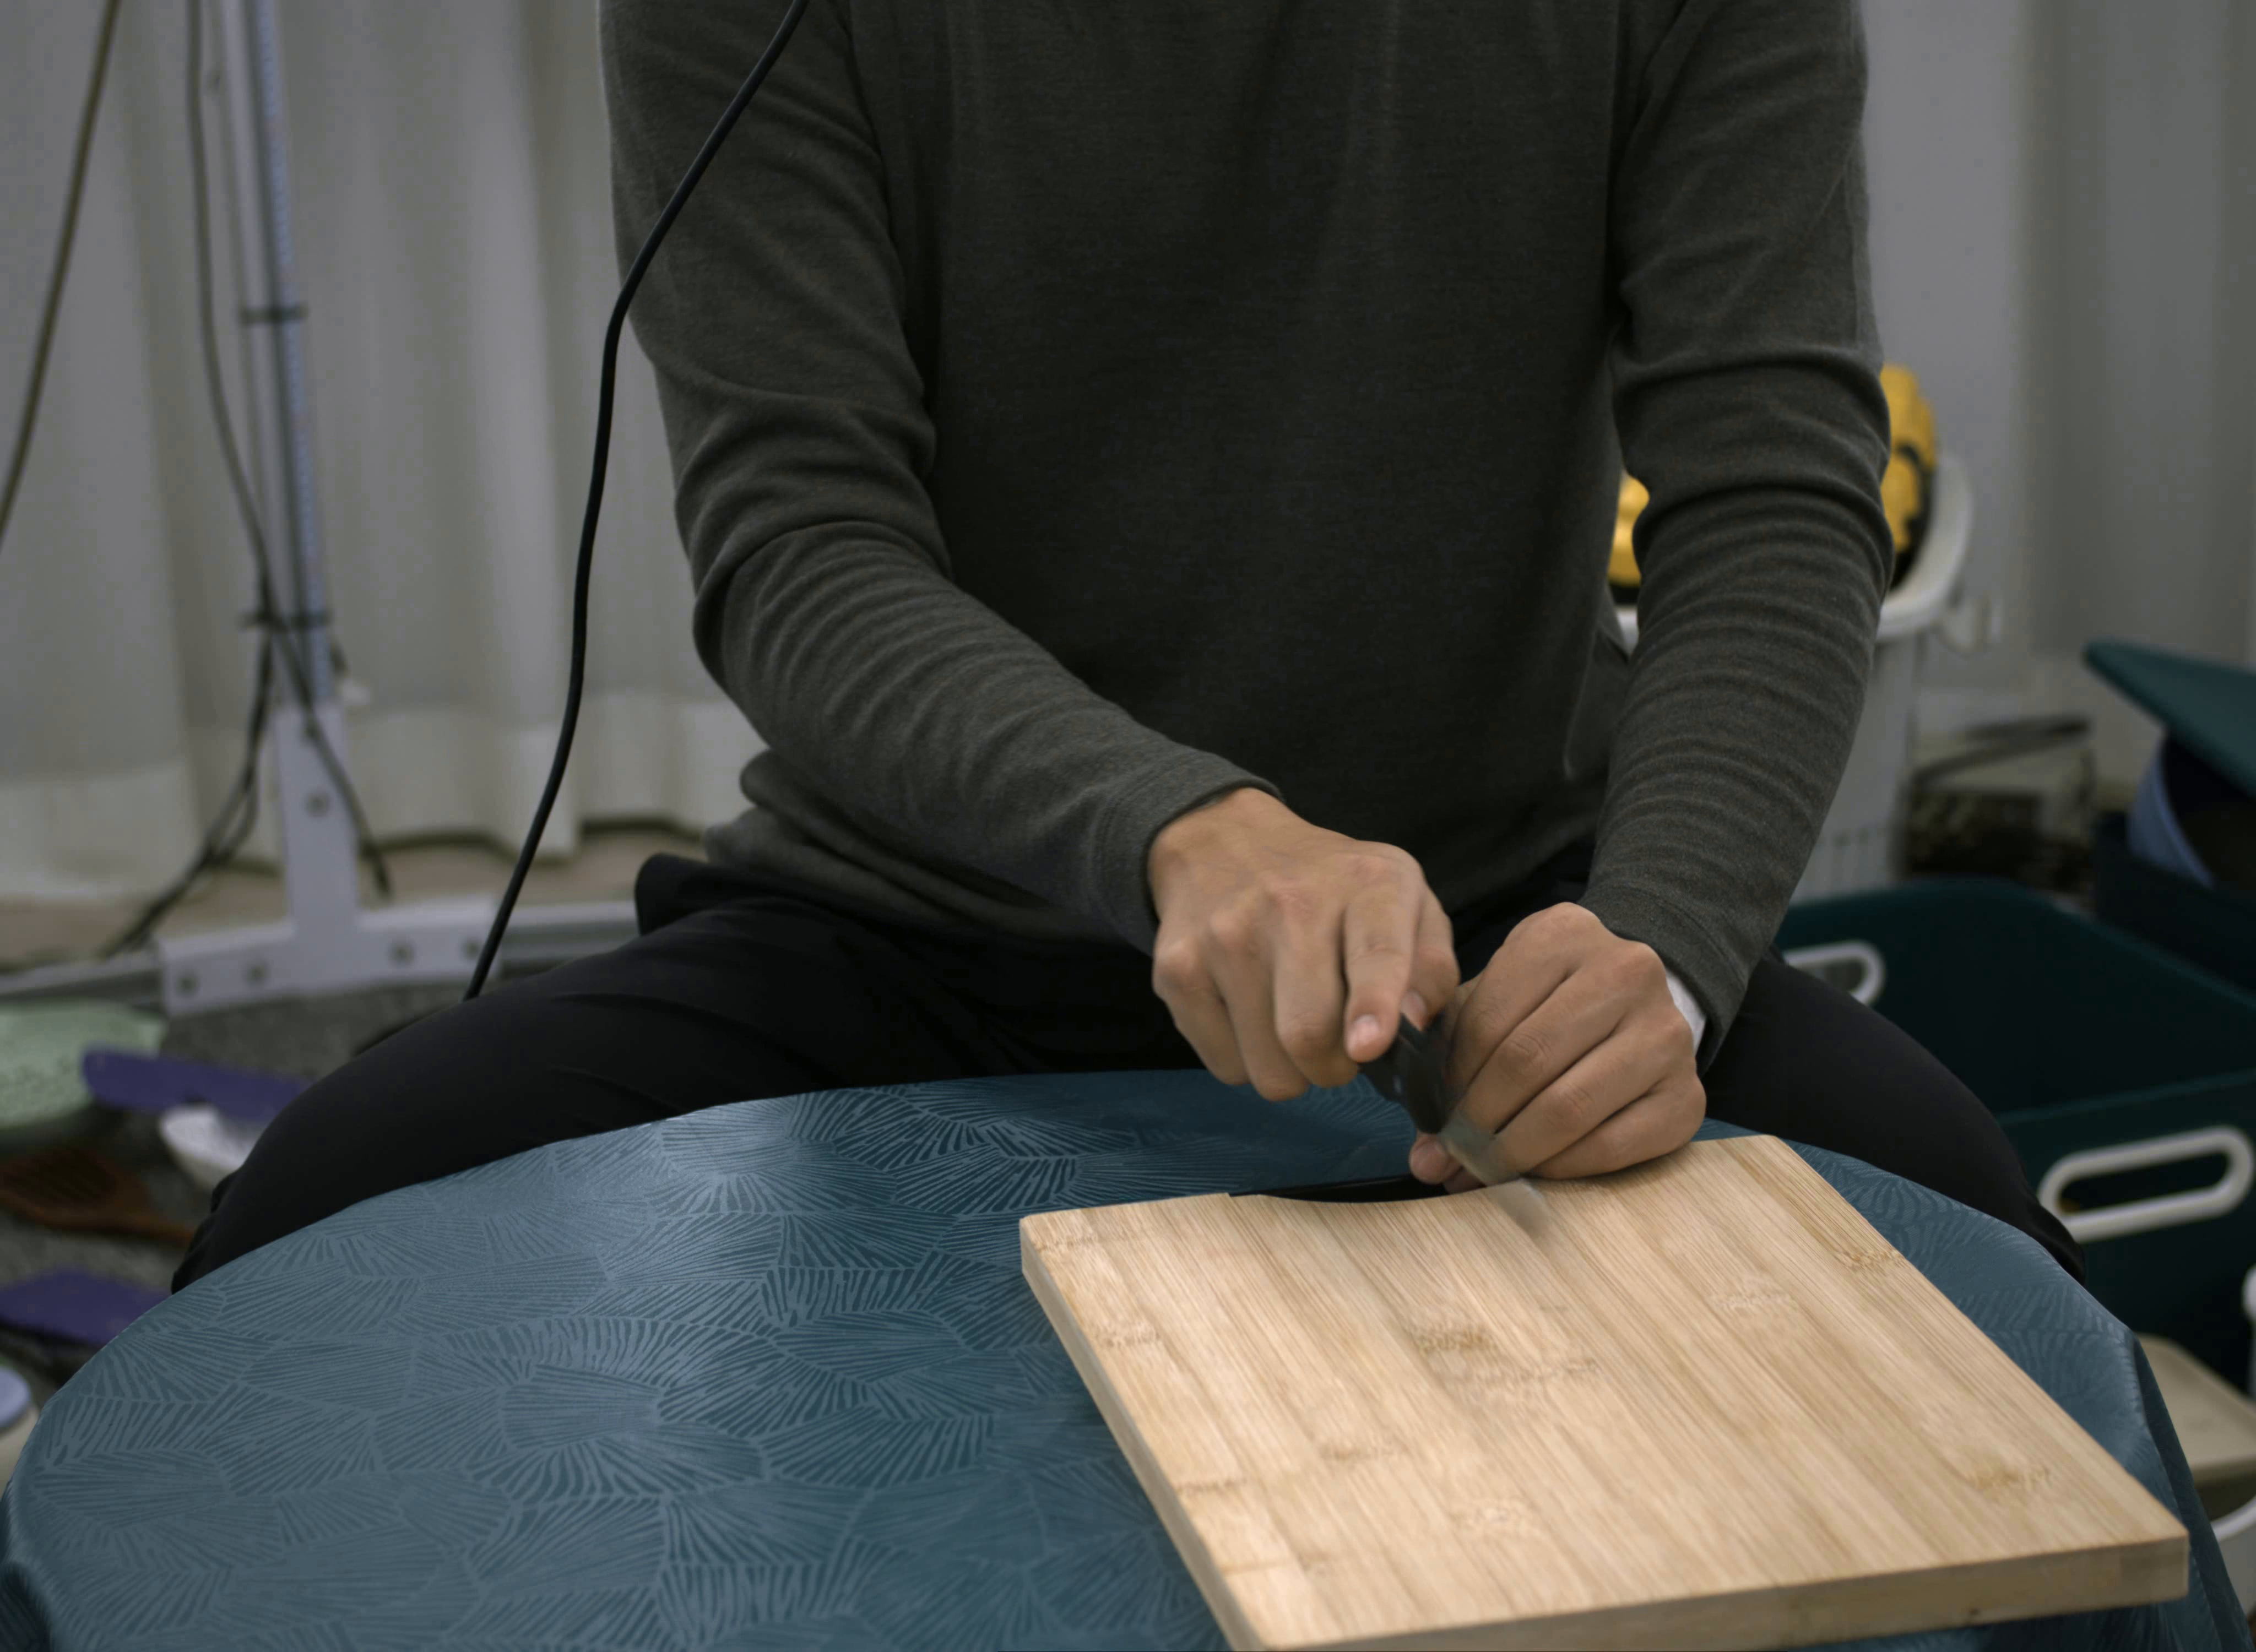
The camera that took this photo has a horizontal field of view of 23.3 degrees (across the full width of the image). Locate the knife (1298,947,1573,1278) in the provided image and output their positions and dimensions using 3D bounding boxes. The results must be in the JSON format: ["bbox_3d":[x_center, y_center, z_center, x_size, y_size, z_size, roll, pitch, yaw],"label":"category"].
[{"bbox_3d":[0.088,0.079,1.564,0.016,0.024,0.240,-10,21,-12],"label":"knife"}]

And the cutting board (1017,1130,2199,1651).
[{"bbox_3d":[0.117,0.155,1.512,0.249,0.023,0.351,-5,15,-11],"label":"cutting board"}]
